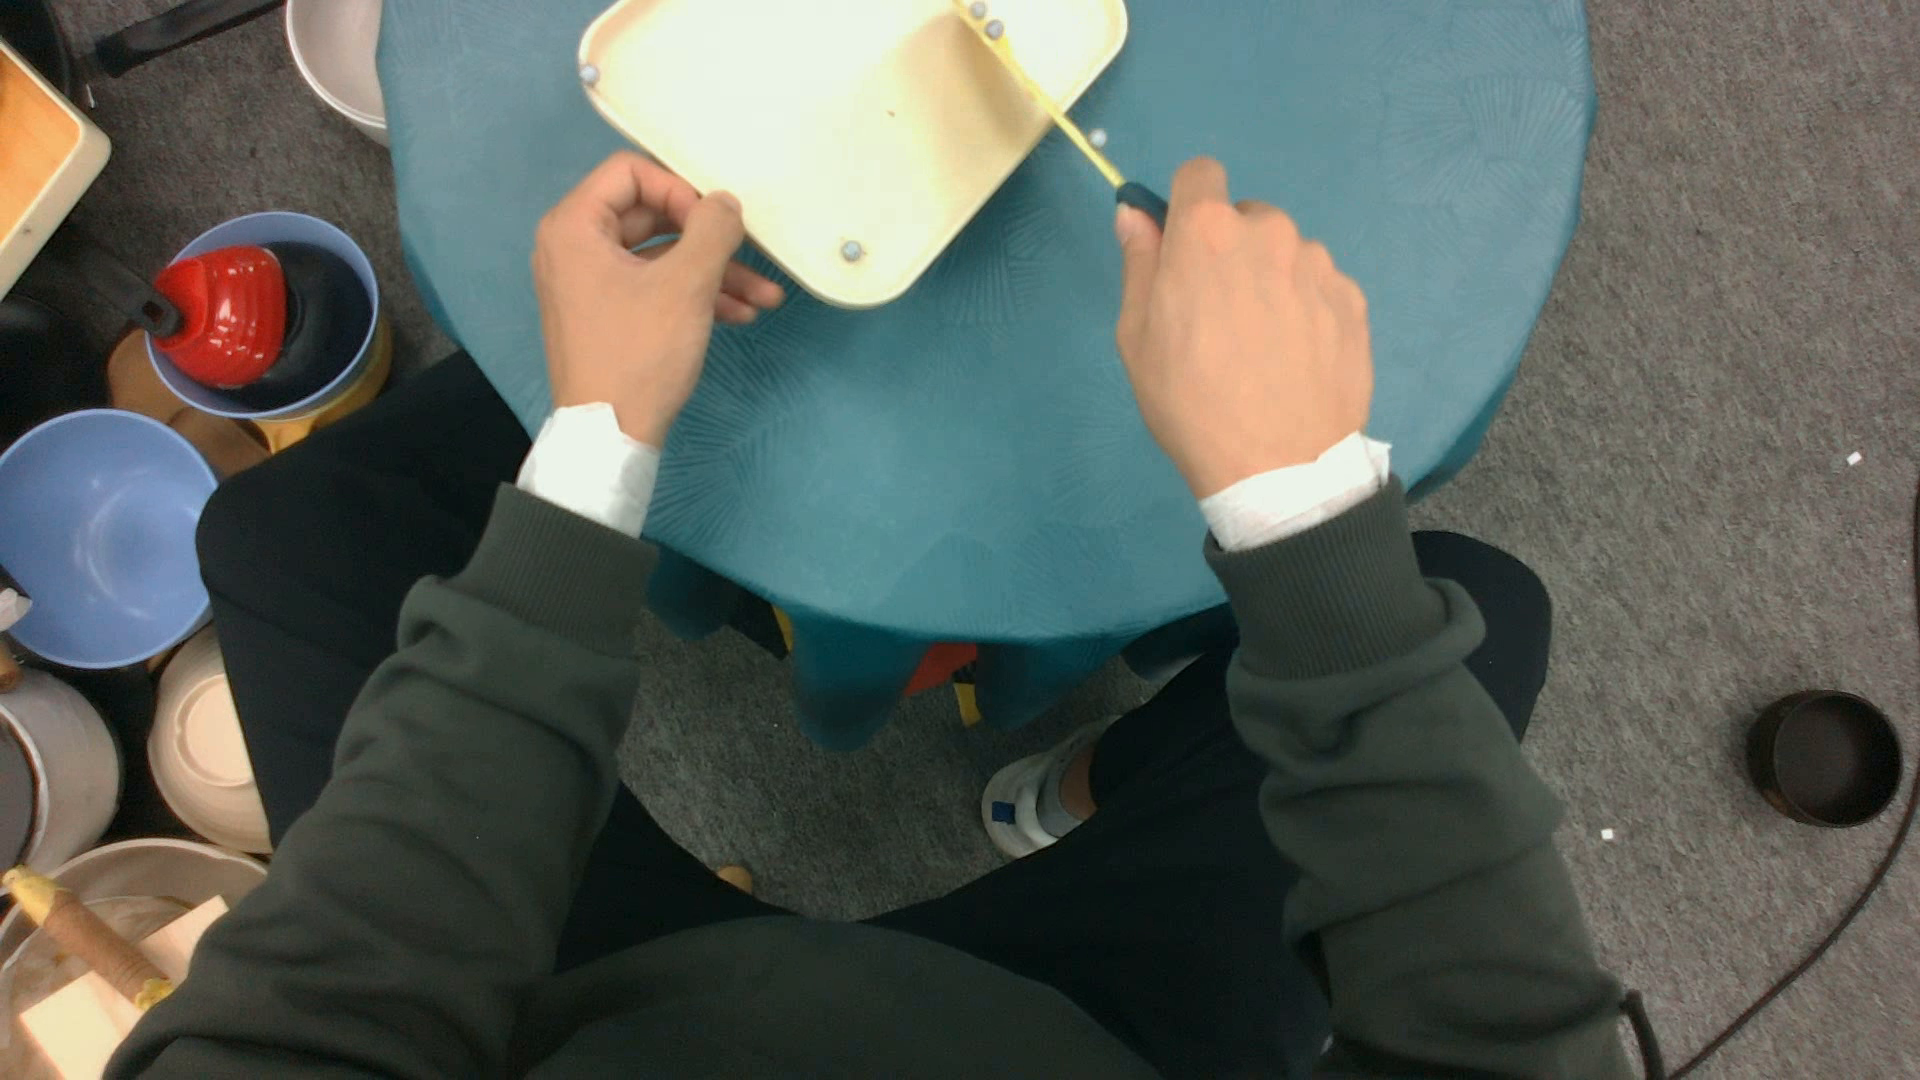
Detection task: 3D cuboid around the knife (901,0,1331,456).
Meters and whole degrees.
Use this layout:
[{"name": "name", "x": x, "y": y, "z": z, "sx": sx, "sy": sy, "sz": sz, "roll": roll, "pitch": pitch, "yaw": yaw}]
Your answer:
[{"name": "knife", "x": 0.058, "y": -0.142, "z": 0.579, "sx": 0.027, "sy": 0.081, "sz": 0.290, "roll": -44, "pitch": 67, "yaw": 18}]

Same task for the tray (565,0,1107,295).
[{"name": "tray", "x": -0.048, "y": -0.230, "z": 0.629, "sx": 0.171, "sy": 0.017, "sz": 0.240, "roll": 40, "pitch": 64, "yaw": -5}]
